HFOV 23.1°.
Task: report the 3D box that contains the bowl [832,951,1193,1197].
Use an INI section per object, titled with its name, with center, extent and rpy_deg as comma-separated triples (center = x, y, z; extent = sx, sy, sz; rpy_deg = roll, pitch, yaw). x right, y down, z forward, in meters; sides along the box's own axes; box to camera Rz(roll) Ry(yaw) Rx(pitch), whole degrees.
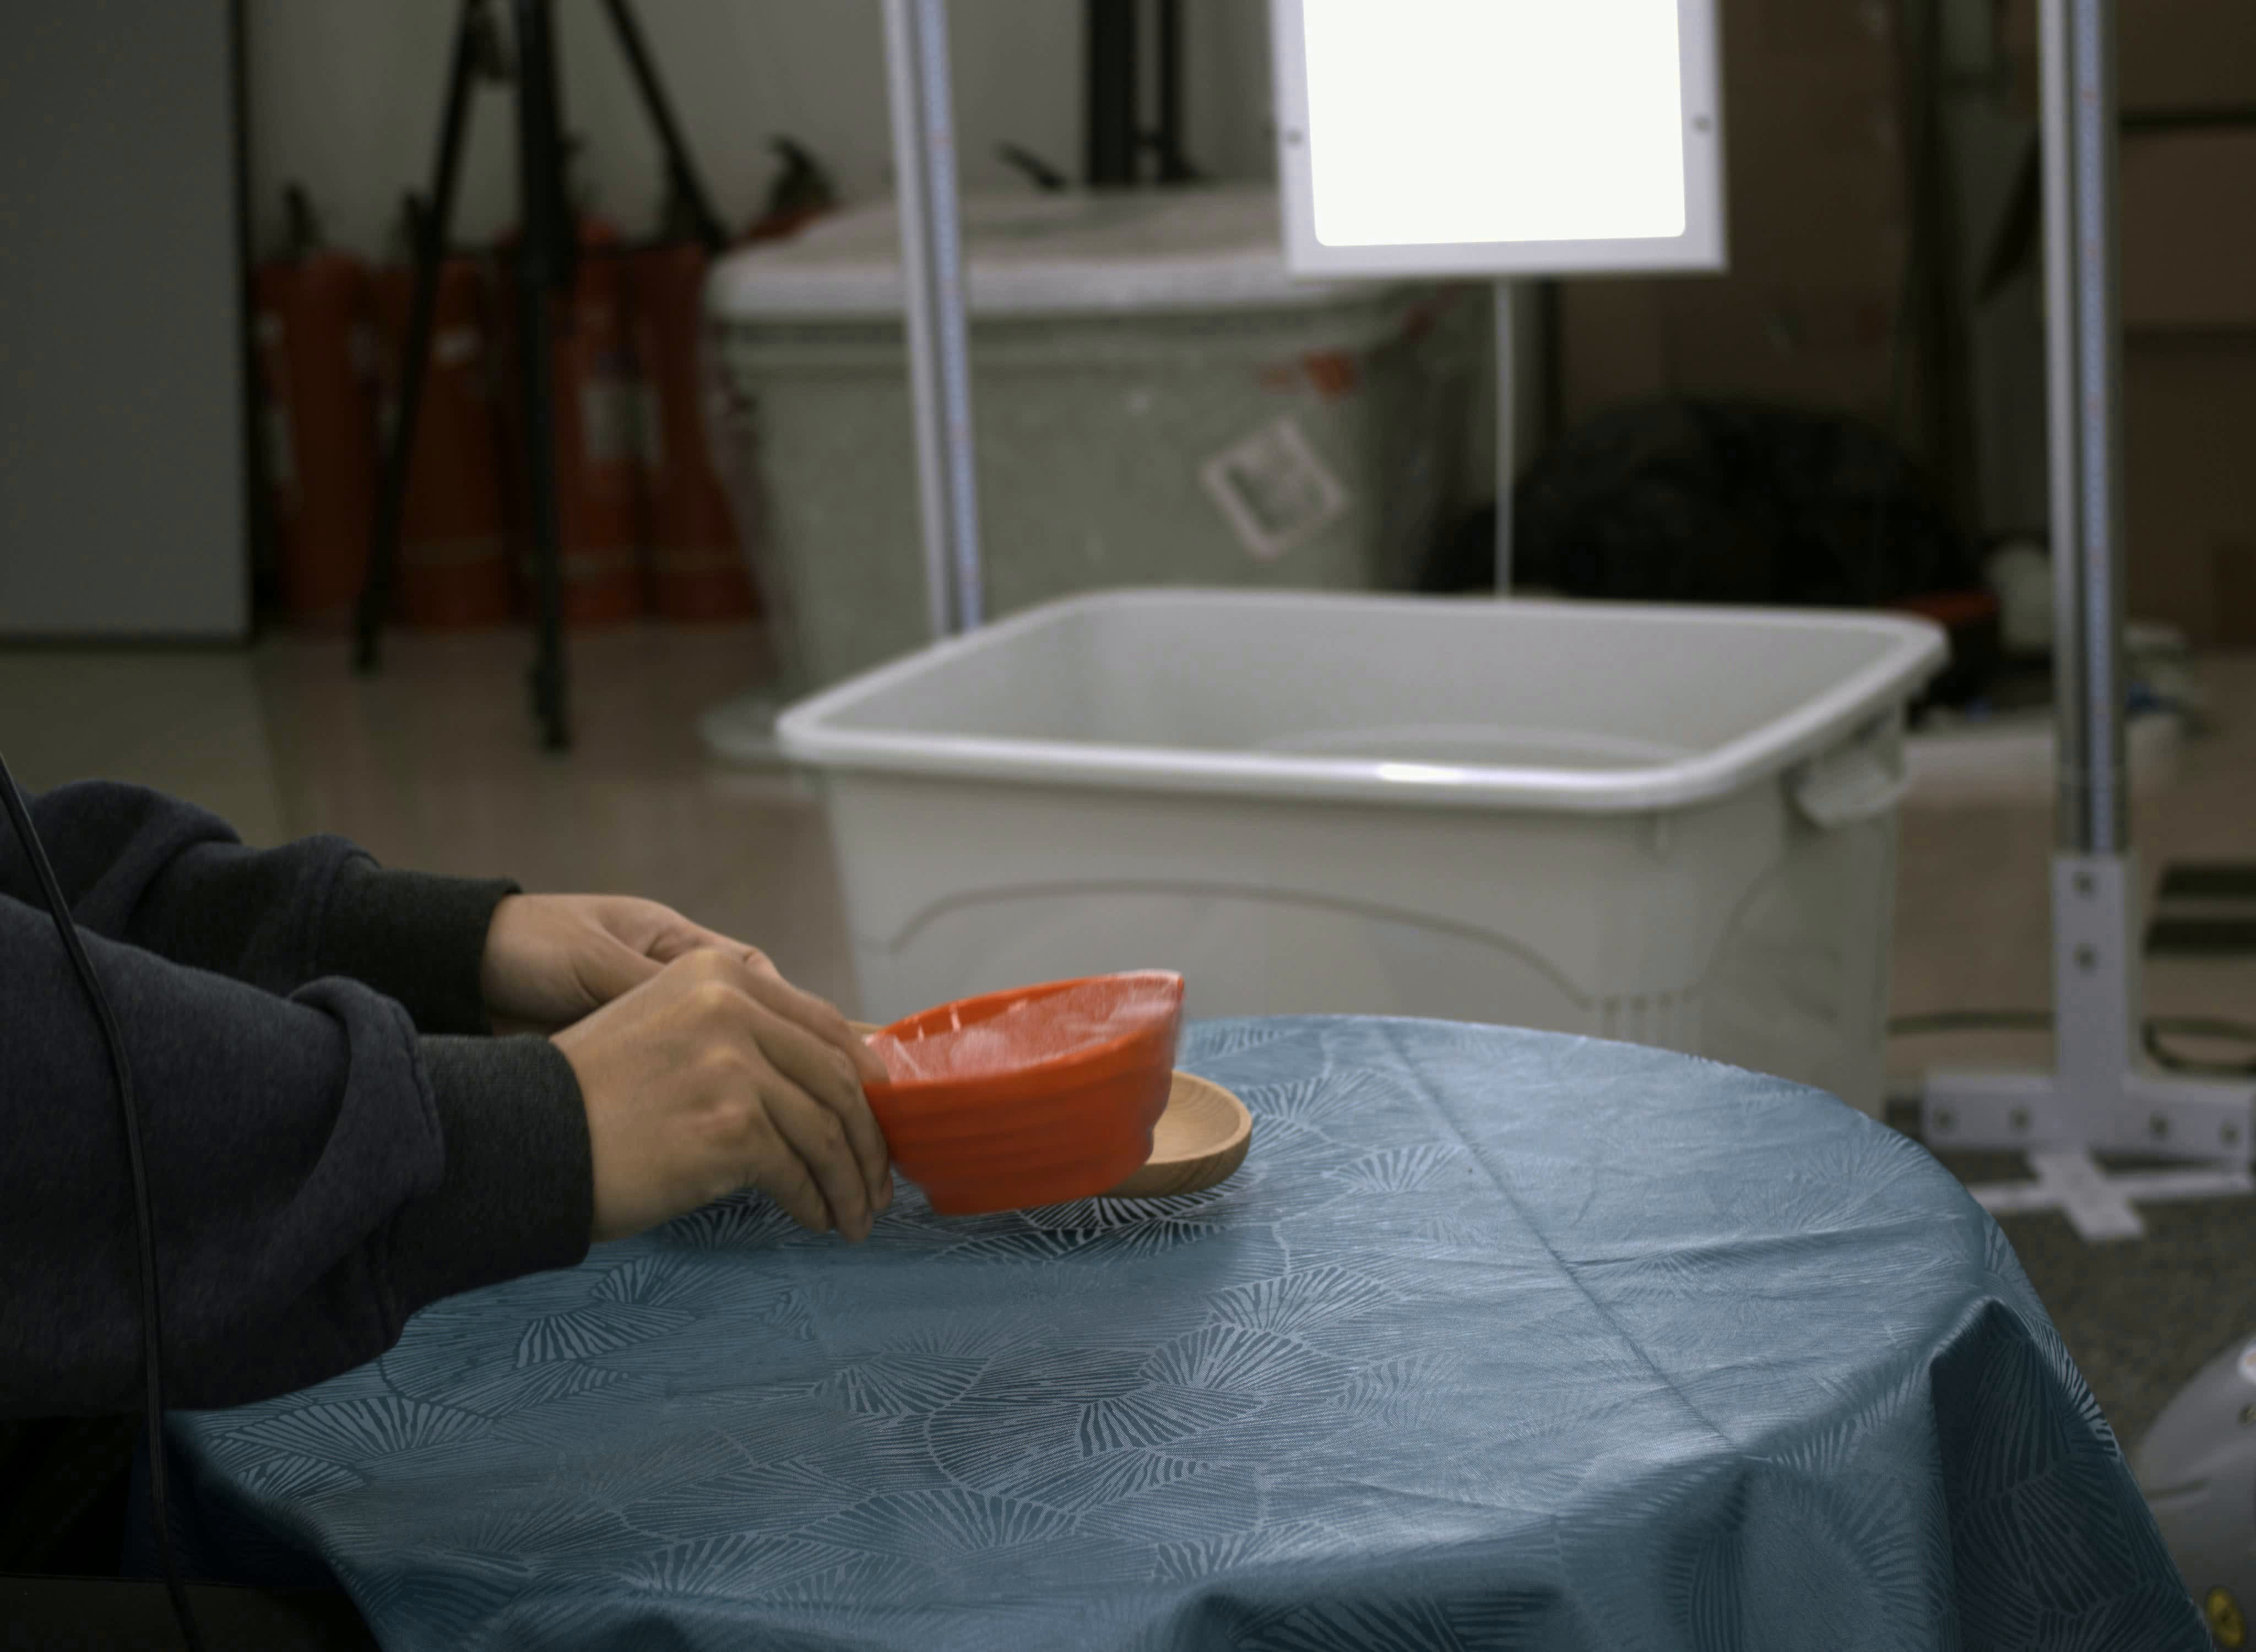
[bowl]
center = -0.031, 0.080, 1.708
extent = 0.119, 0.051, 0.119
rpy_deg = -12, 12, 1

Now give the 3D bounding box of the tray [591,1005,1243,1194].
[tray]
center = -0.074, 0.094, 1.901
extent = 0.233, 0.020, 0.100
rpy_deg = 6, 17, 16
